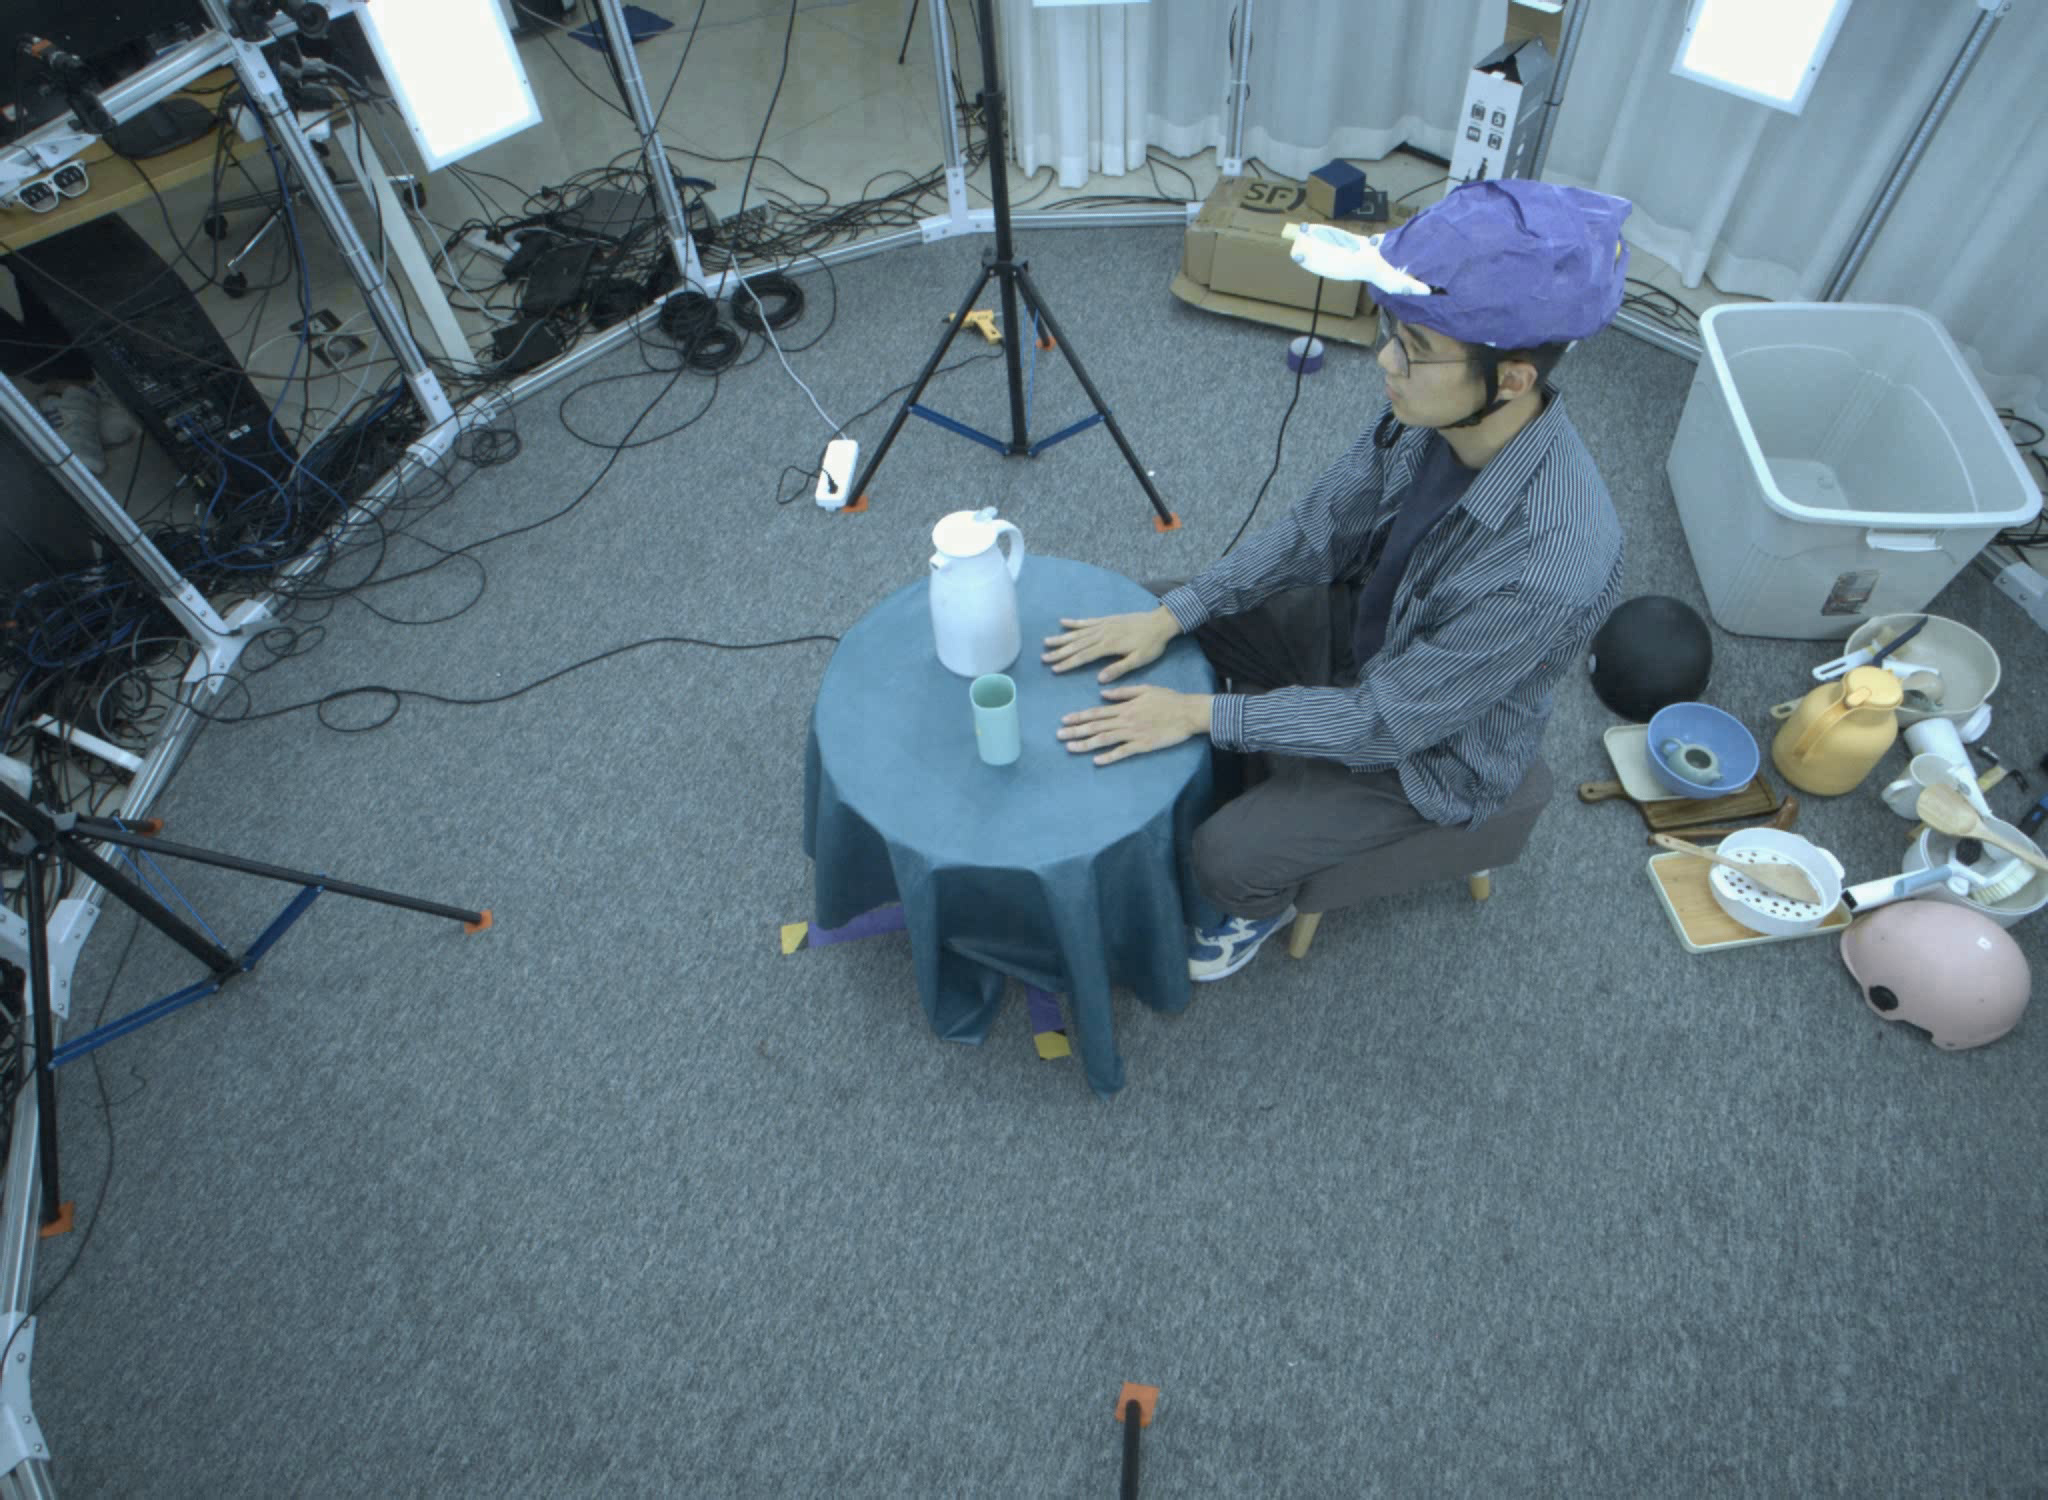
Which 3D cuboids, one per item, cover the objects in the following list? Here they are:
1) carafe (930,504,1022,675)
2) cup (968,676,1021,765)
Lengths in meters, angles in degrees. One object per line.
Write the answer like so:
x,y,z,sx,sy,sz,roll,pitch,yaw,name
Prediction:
-0.065,-0.251,1.814,0.130,0.251,0.169,33,62,24,carafe
-0.040,-0.041,1.744,0.066,0.134,0.066,-2,55,4,cup
